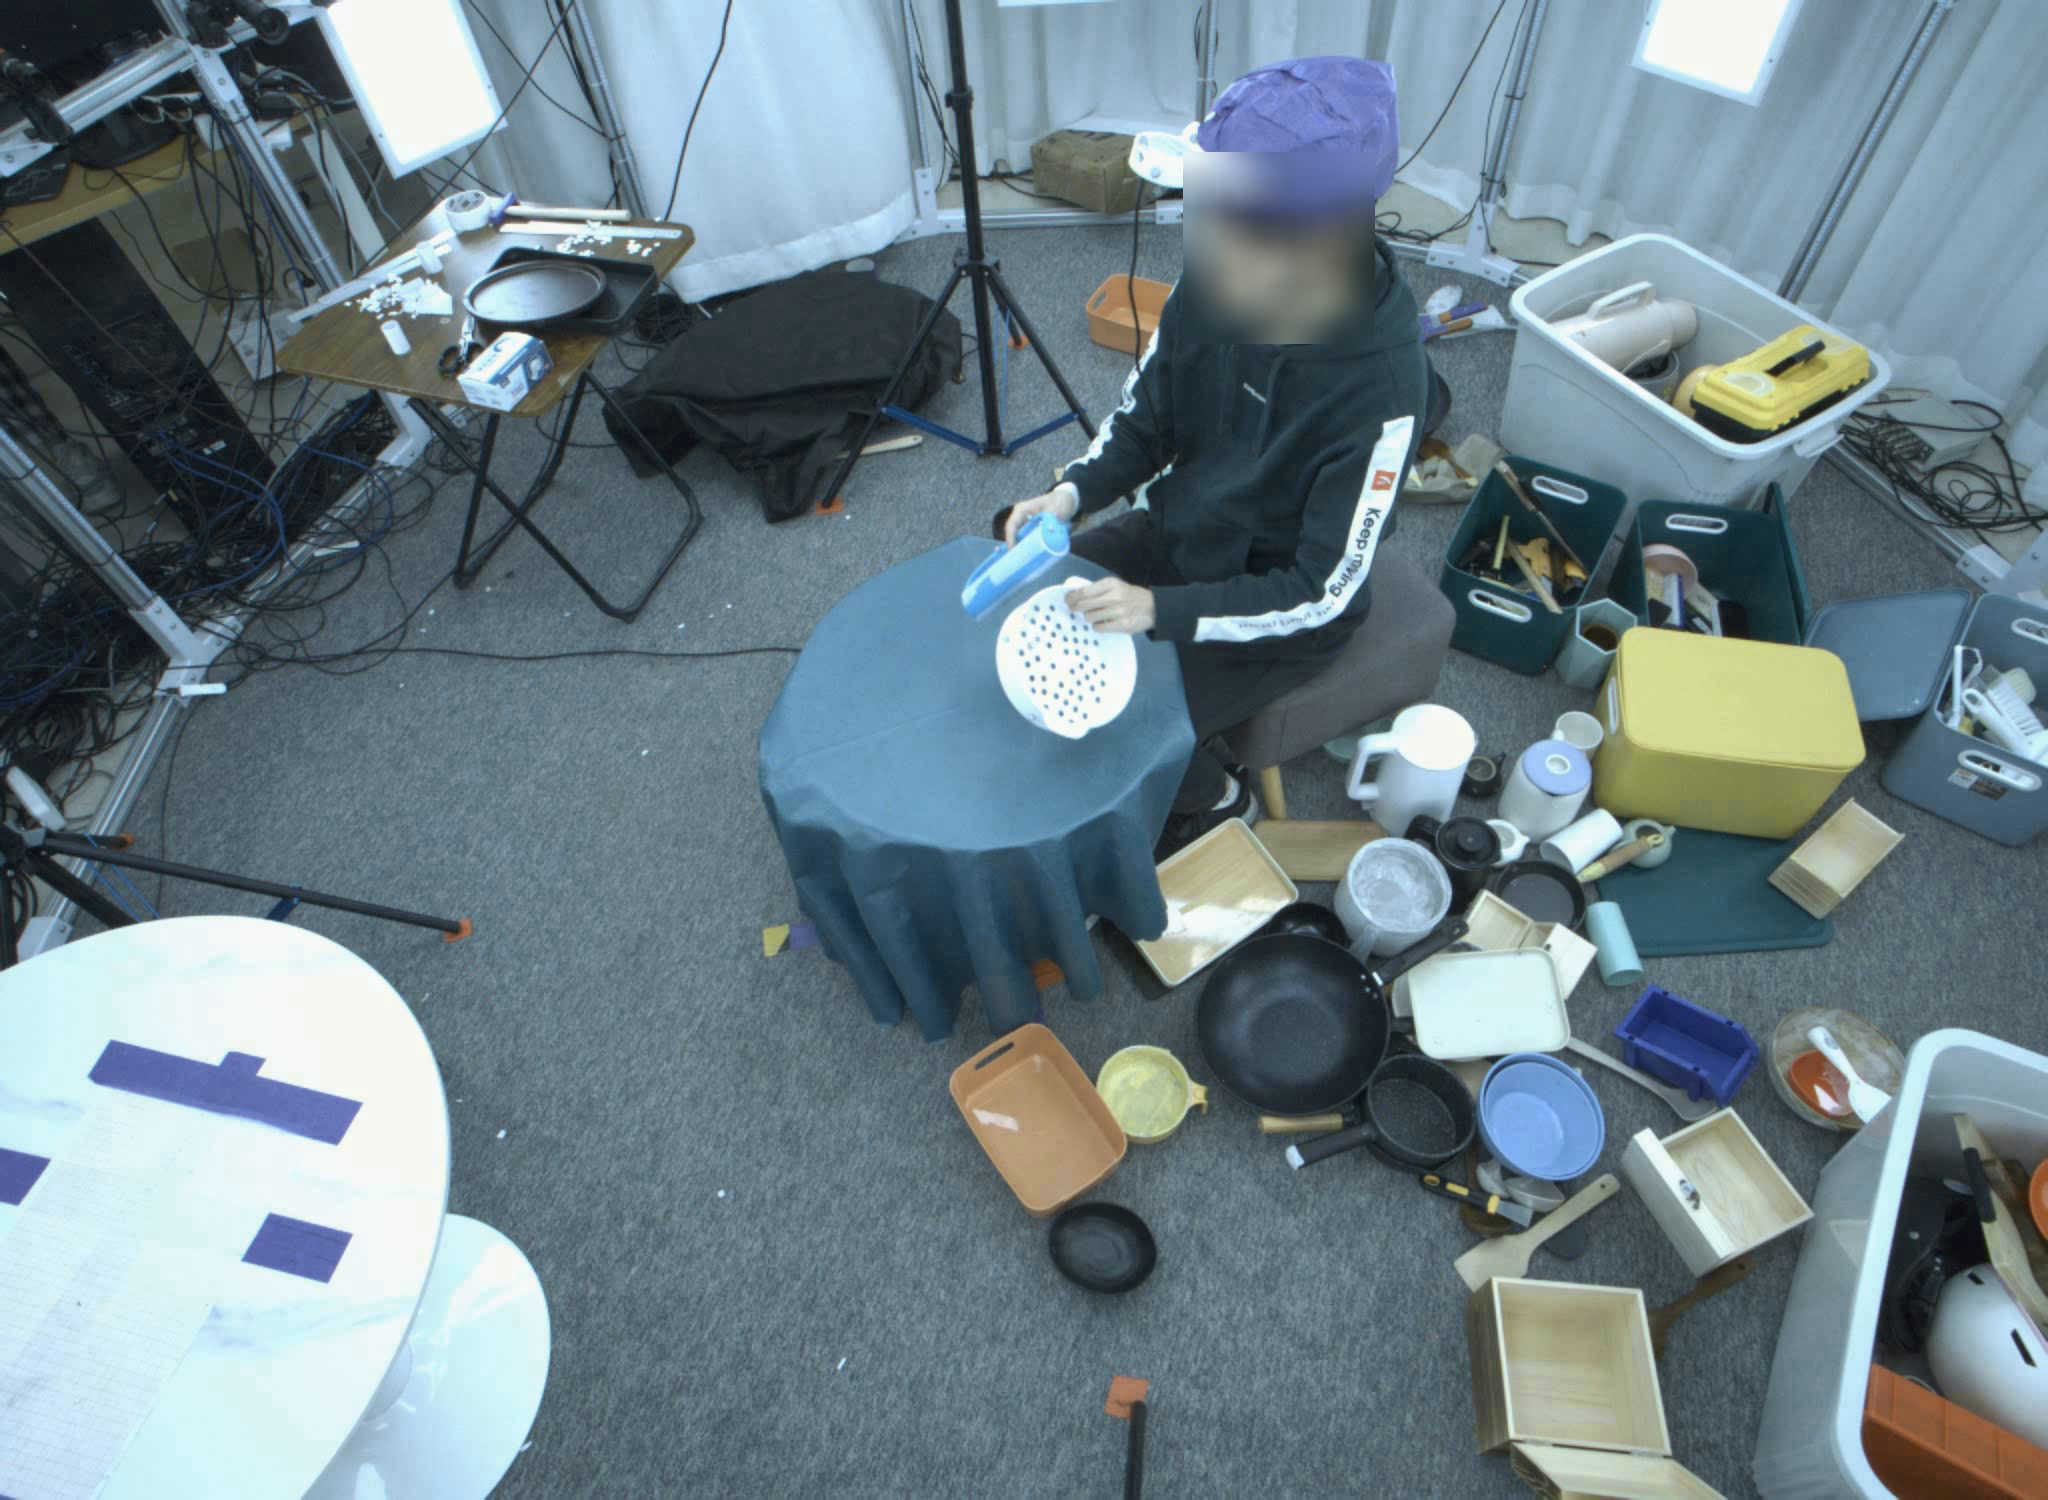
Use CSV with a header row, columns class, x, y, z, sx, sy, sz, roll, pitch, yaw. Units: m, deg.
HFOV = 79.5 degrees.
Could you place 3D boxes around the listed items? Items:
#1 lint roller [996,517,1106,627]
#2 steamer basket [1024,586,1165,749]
class,x,y,z,sx,sy,sz,roll,pitch,yaw
lint roller,0.057,-0.277,1.755,0.068,0.226,0.180,43,45,-11
steamer basket,0.096,-0.109,1.685,0.206,0.068,0.229,20,70,-30
